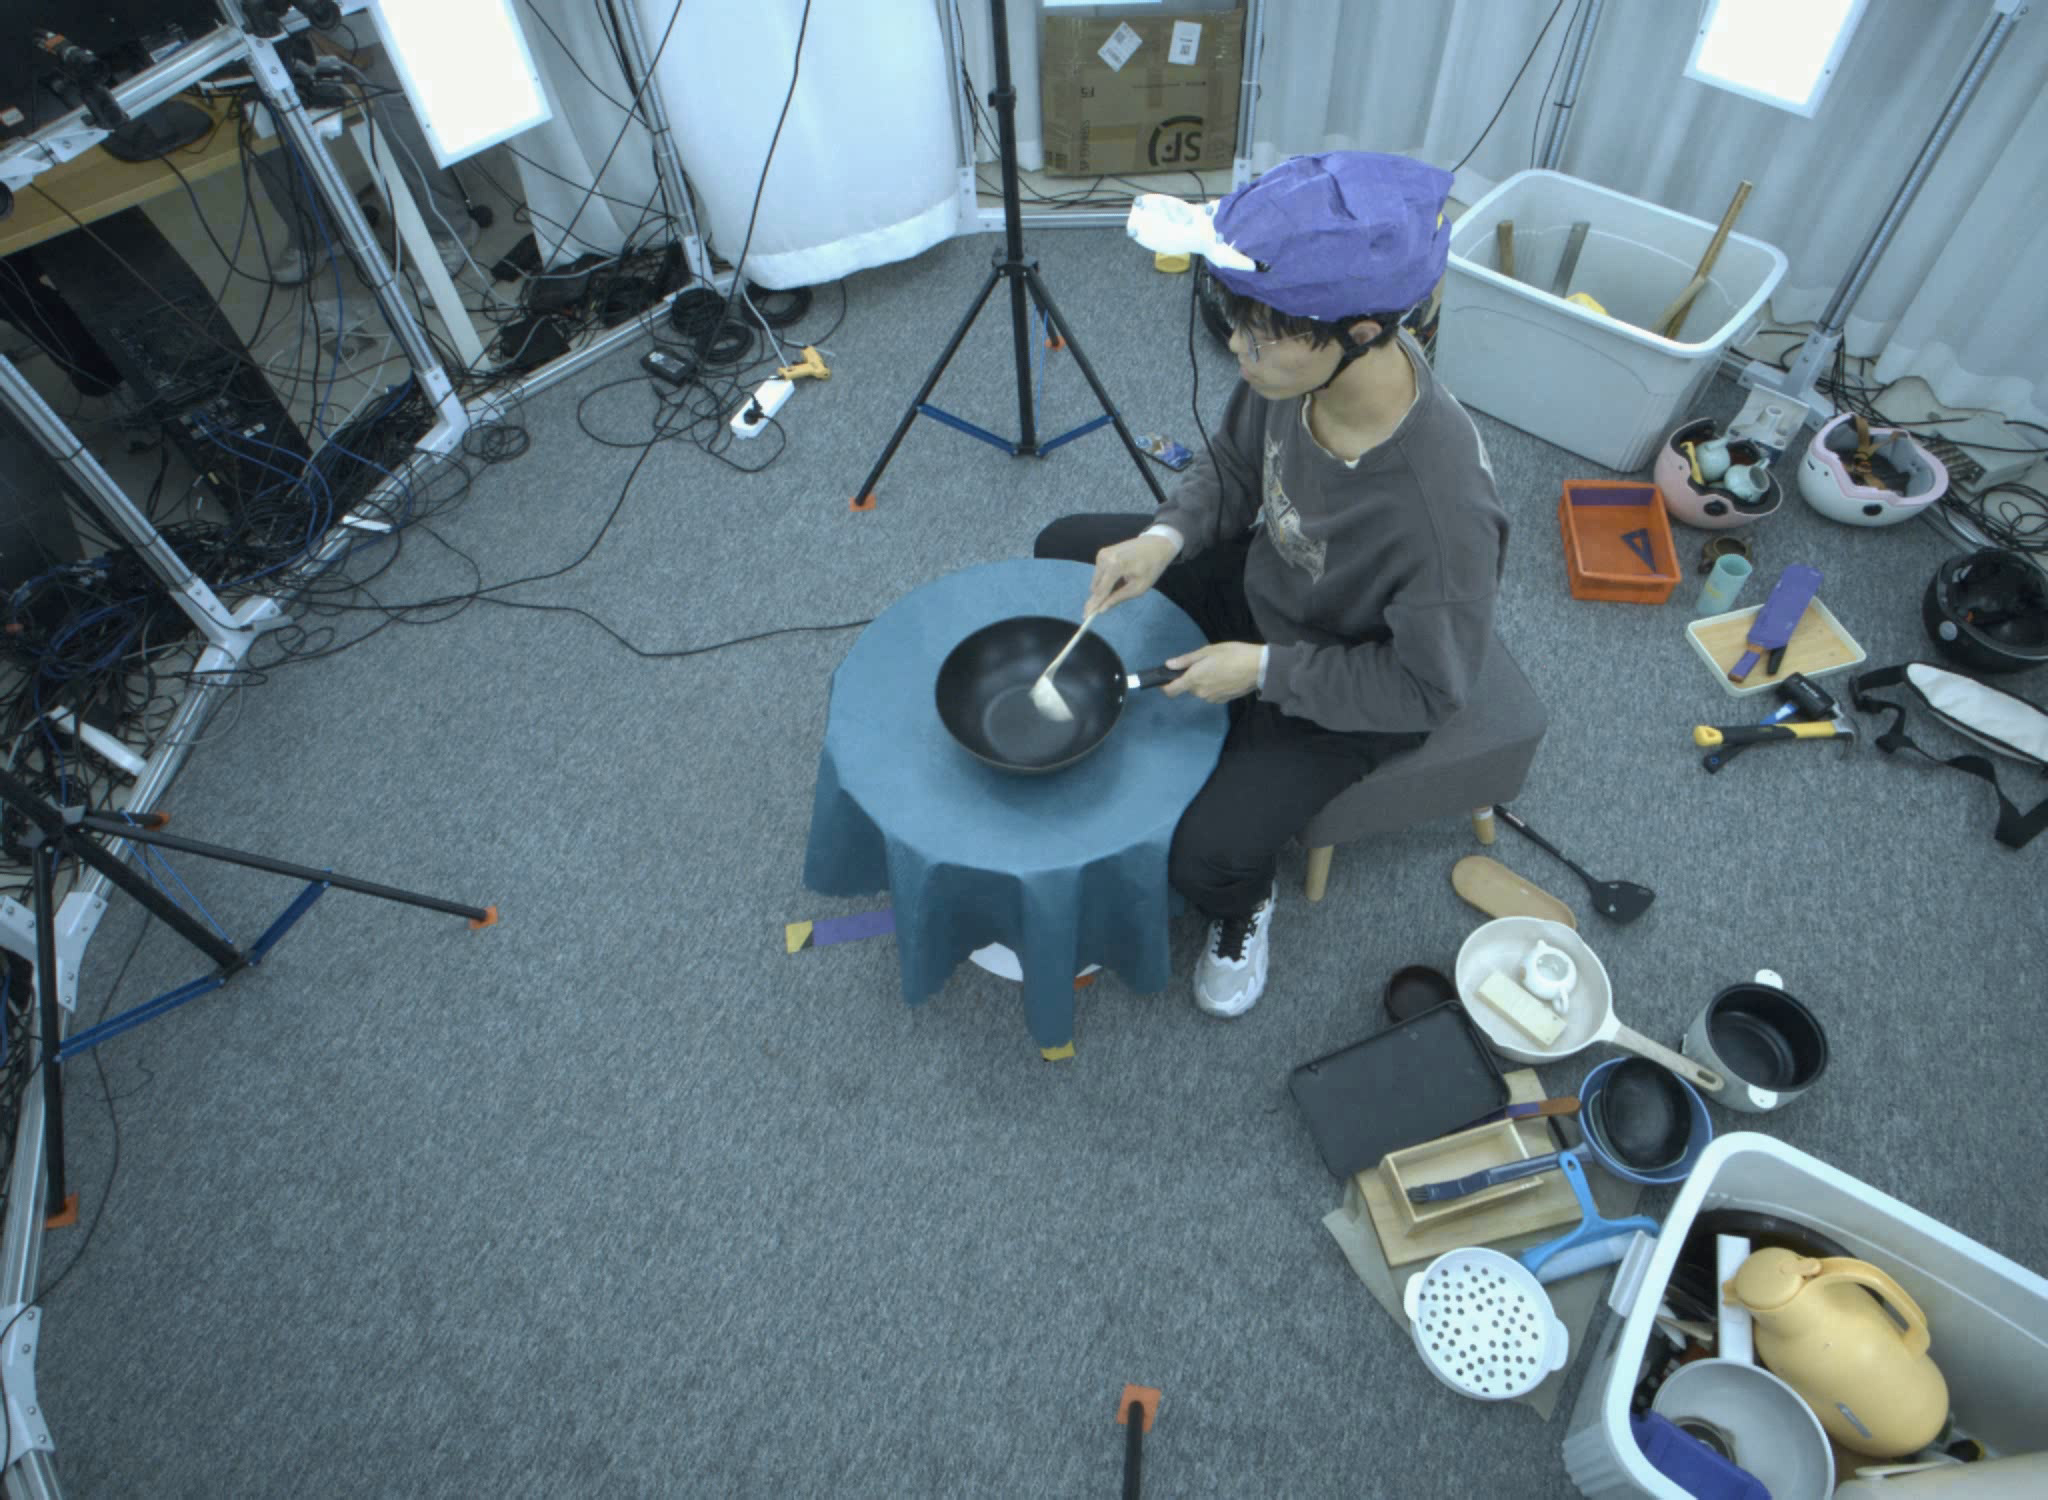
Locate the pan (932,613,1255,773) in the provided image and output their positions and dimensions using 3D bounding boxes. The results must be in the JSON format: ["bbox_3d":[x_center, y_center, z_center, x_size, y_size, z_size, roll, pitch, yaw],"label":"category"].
[{"bbox_3d":[0.101,-0.079,1.787,0.464,0.088,0.284,-6,54,-3],"label":"pan"}]

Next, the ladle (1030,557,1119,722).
[{"bbox_3d":[0.094,-0.156,1.720,0.071,0.074,0.254,25,80,35],"label":"ladle"}]
